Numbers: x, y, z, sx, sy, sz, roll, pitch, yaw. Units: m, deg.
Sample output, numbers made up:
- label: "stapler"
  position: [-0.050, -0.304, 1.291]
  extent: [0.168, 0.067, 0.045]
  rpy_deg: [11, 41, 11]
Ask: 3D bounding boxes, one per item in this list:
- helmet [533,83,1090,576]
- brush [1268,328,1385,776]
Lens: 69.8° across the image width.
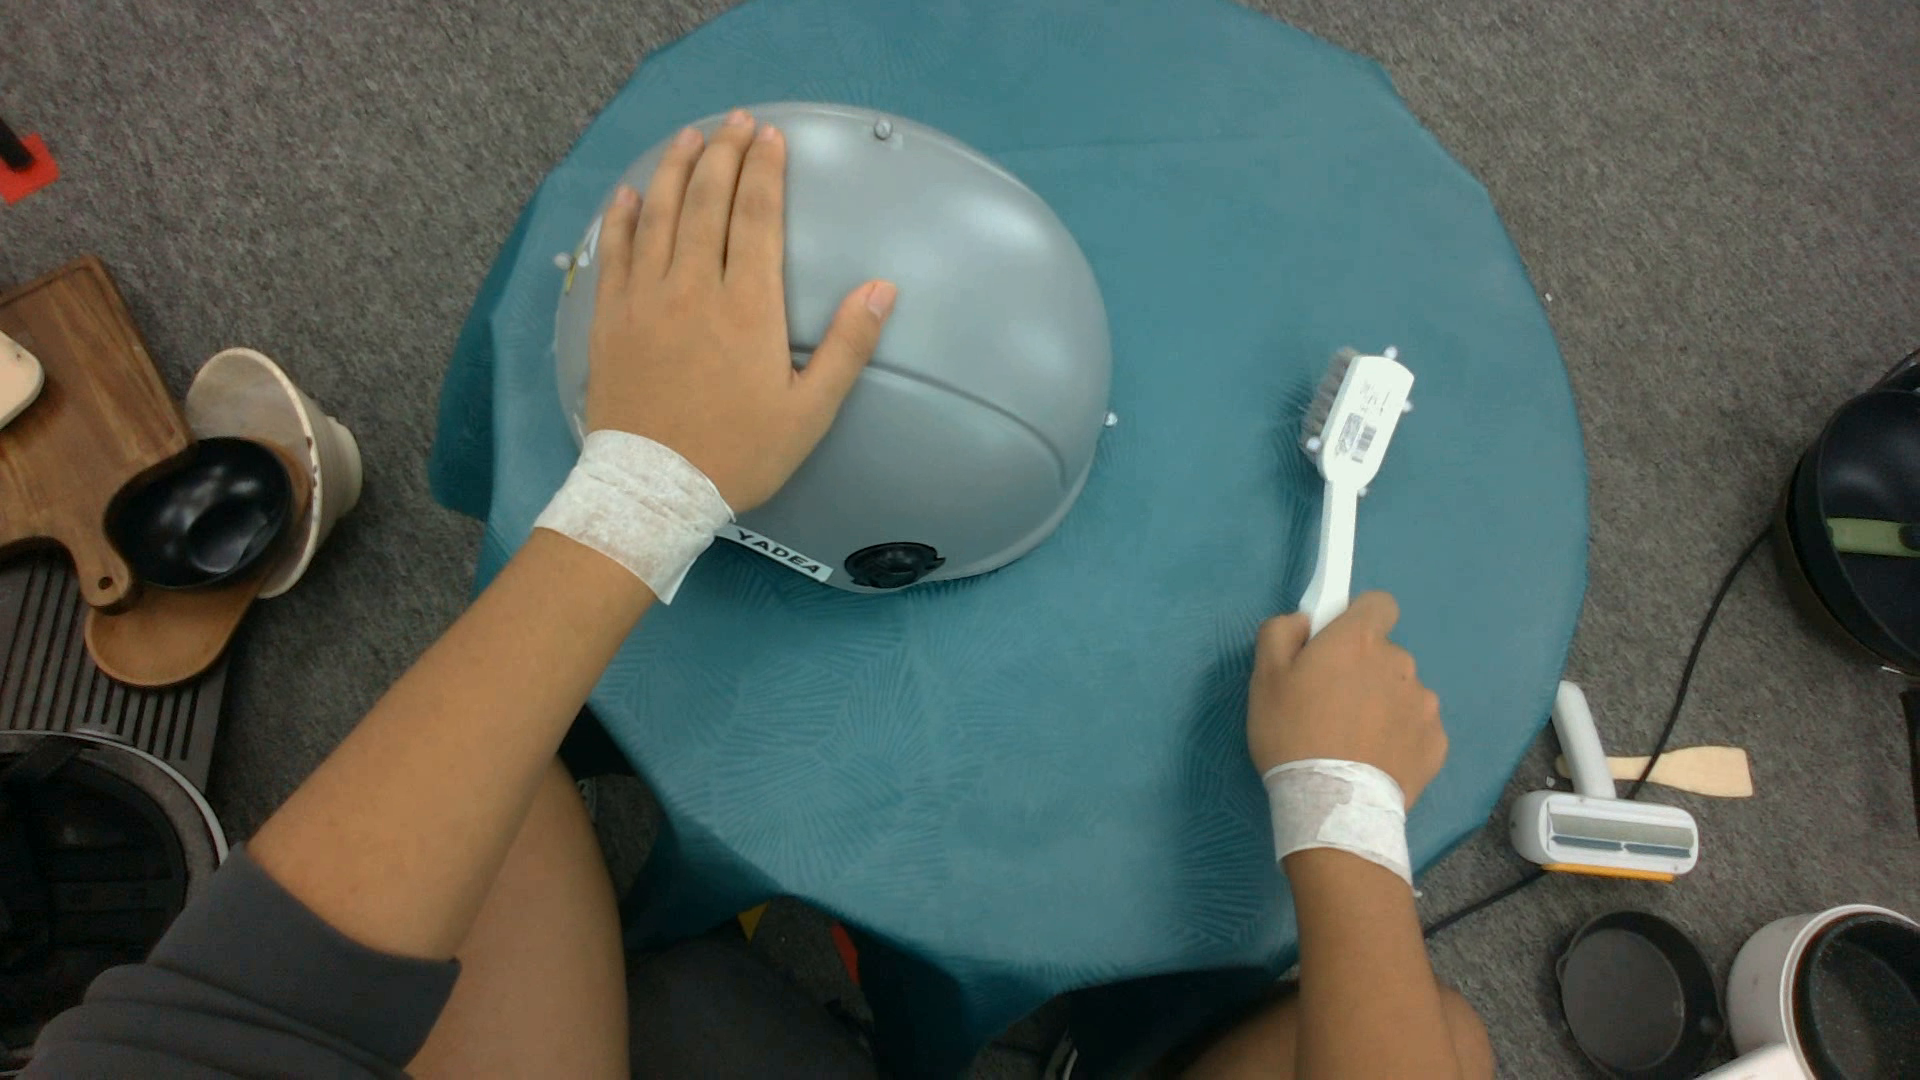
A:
- label: "helmet"
  position: [-0.055, -0.112, 0.637]
  extent: [0.276, 0.168, 0.233]
  rpy_deg: [9, 70, -11]
- label: "brush"
  position: [0.178, 0.002, 0.715]
  extent: [0.034, 0.050, 0.244]
  rpy_deg: [18, 76, -19]
